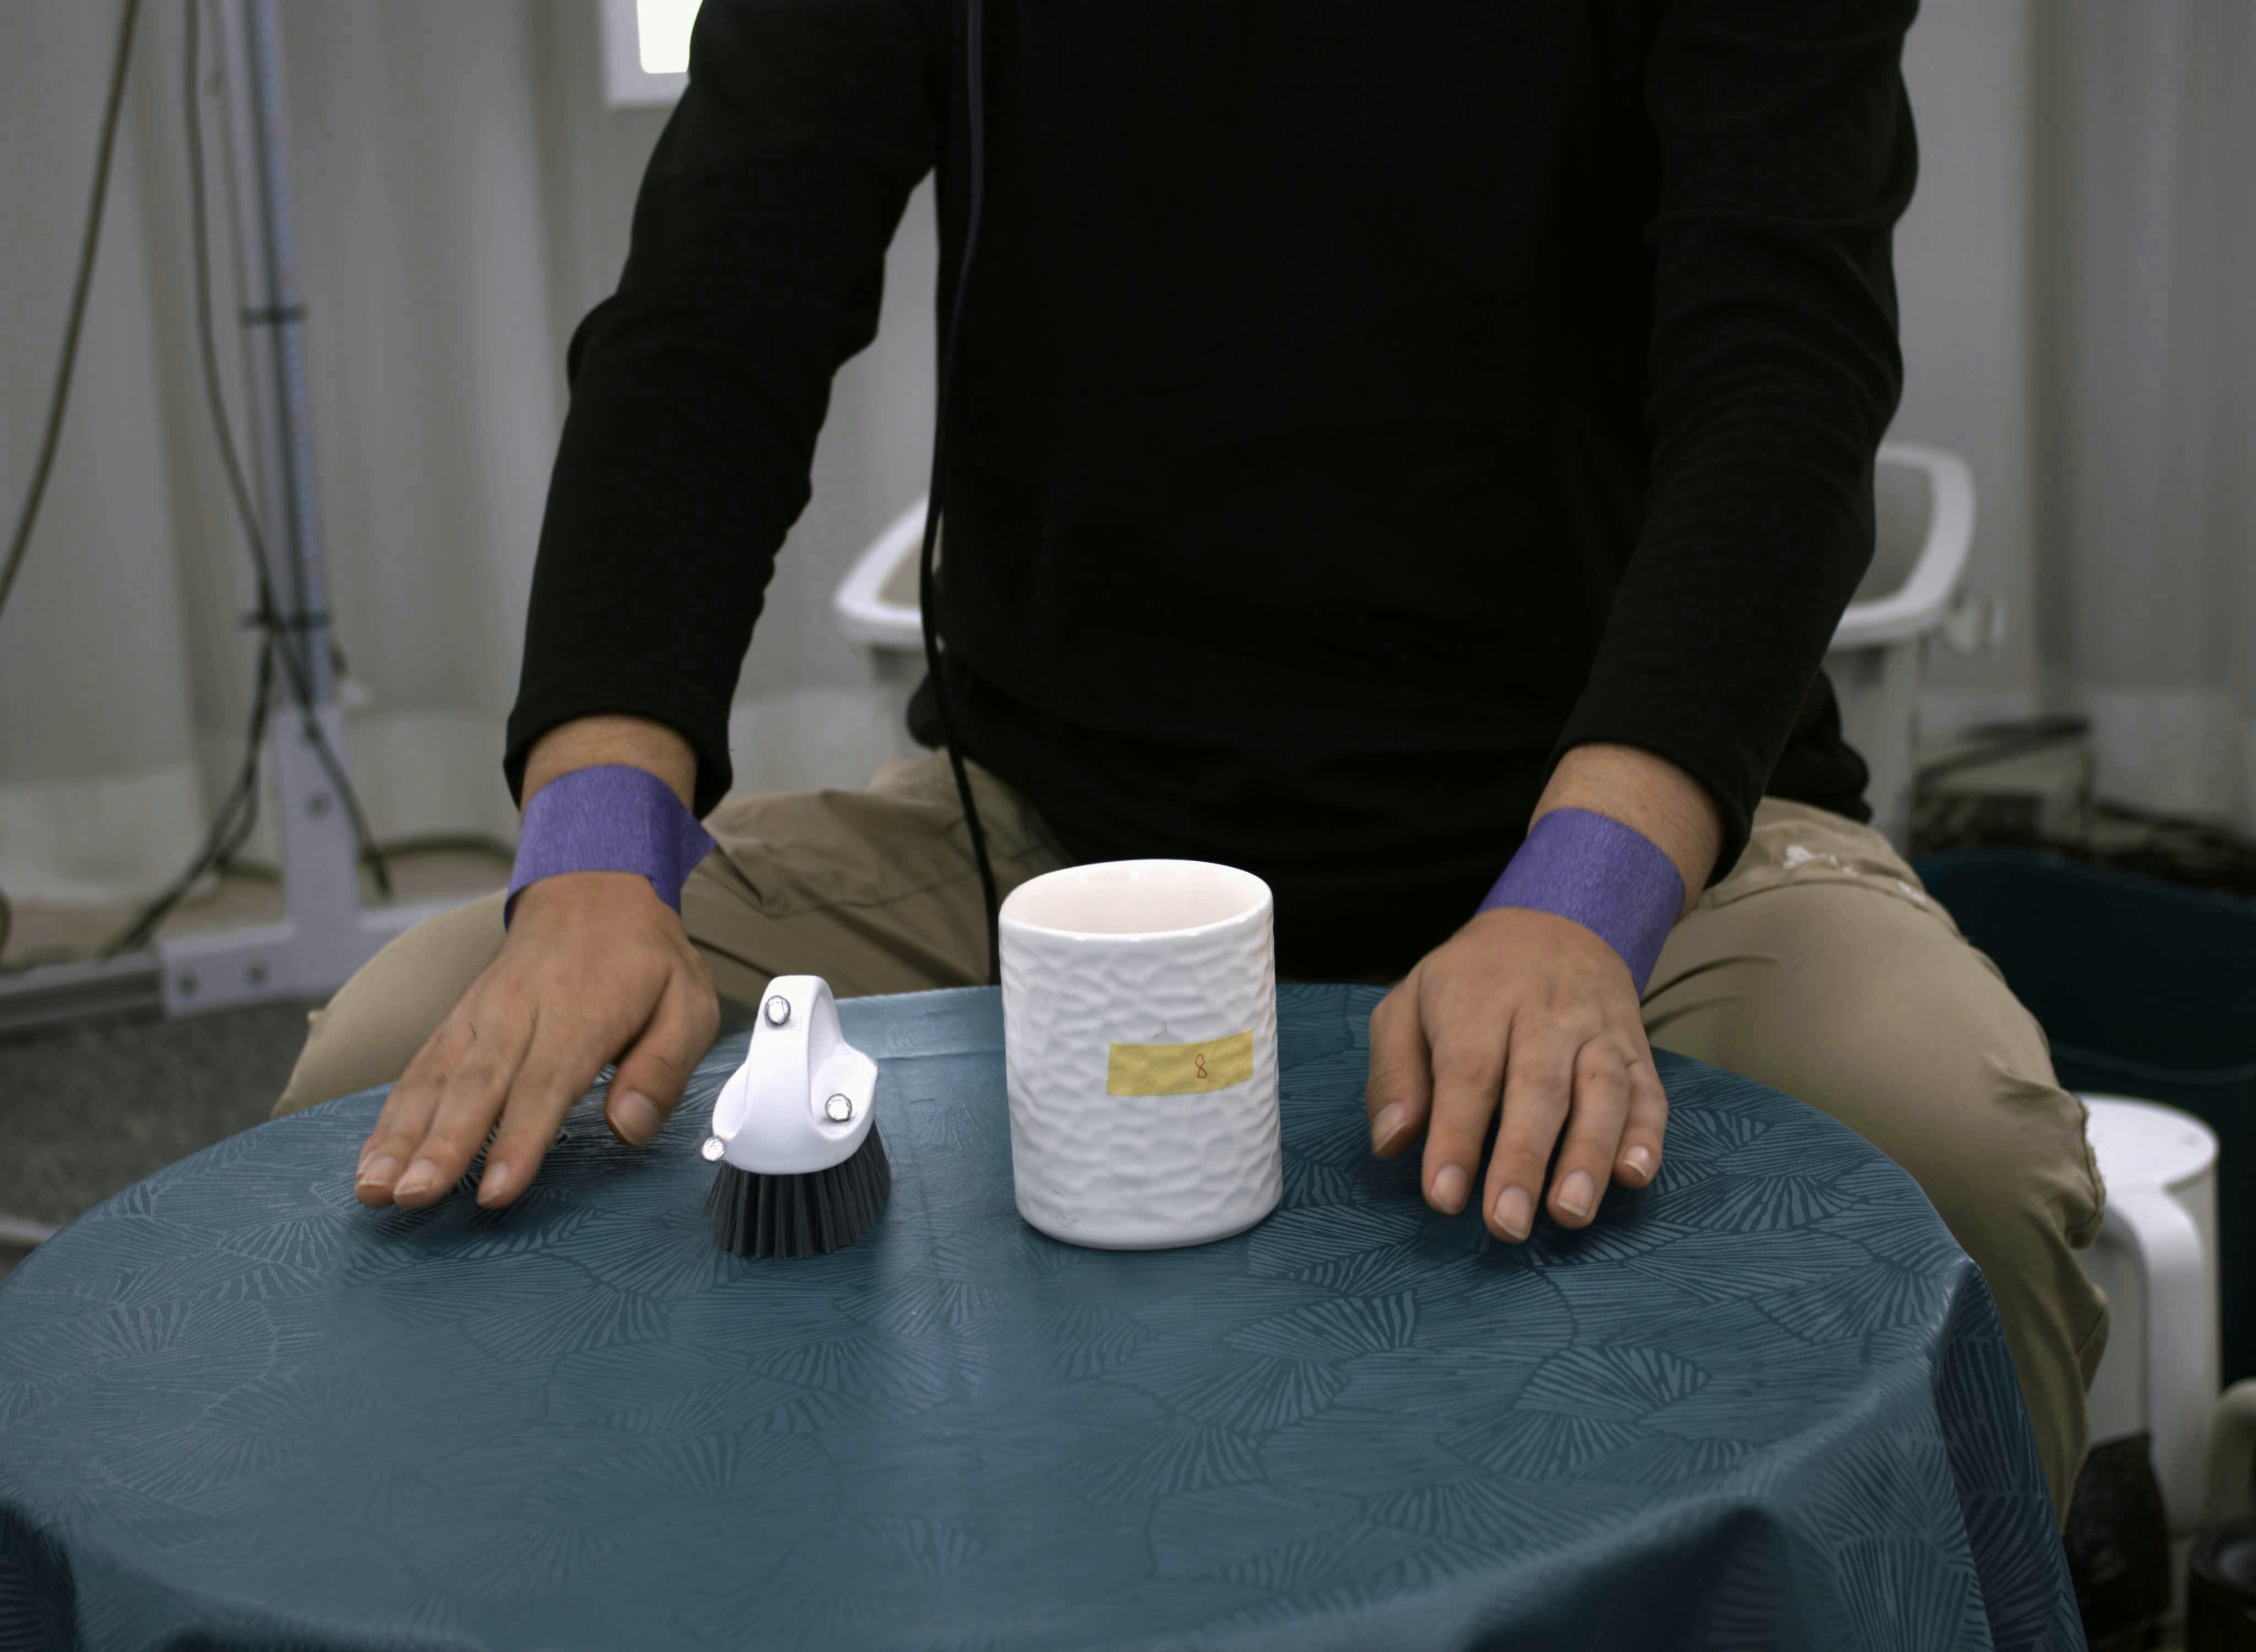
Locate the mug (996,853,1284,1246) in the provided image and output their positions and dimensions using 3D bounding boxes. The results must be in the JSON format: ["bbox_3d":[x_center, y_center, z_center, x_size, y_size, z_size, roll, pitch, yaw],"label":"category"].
[{"bbox_3d":[0.005,0.065,1.700,0.084,0.101,0.119,-3,14,2],"label":"mug"}]

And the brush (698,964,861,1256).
[{"bbox_3d":[-0.108,0.083,1.709,0.050,0.072,0.100,1,19,-5],"label":"brush"}]
